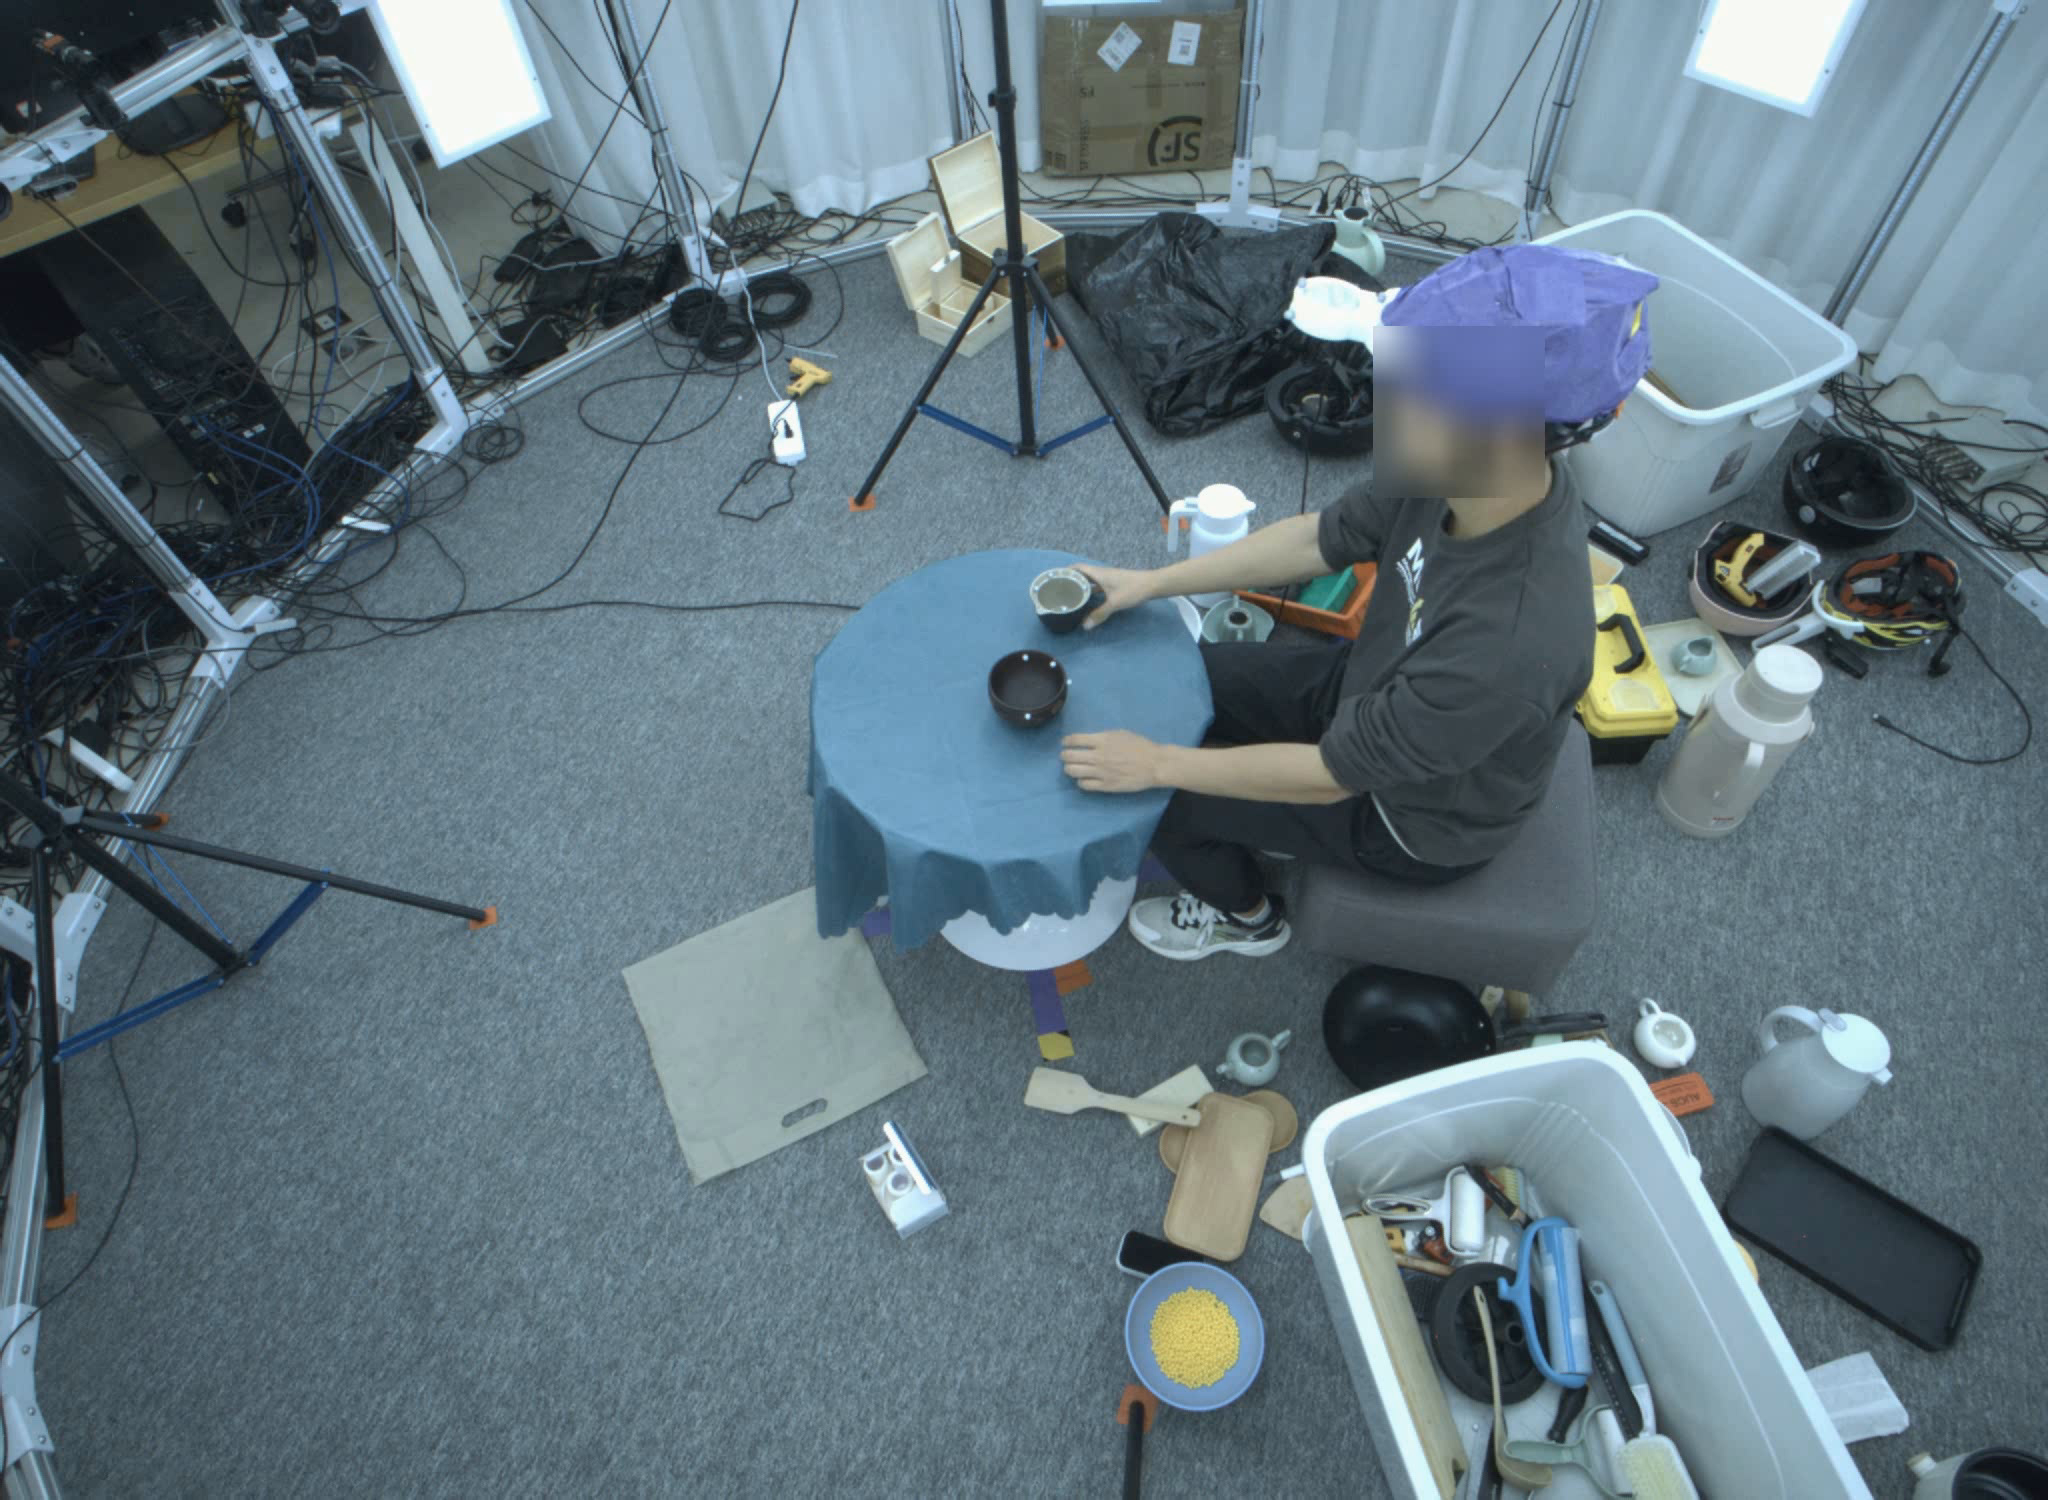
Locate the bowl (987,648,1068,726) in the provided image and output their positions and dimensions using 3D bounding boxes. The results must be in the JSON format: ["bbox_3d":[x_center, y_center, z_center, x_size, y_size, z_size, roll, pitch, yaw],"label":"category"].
[{"bbox_3d":[0.007,-0.084,1.801,0.118,0.071,0.117,-2,53,4],"label":"bowl"}]

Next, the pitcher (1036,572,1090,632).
[{"bbox_3d":[0.057,-0.221,1.895,0.082,0.072,0.096,38,63,24],"label":"pitcher"}]
